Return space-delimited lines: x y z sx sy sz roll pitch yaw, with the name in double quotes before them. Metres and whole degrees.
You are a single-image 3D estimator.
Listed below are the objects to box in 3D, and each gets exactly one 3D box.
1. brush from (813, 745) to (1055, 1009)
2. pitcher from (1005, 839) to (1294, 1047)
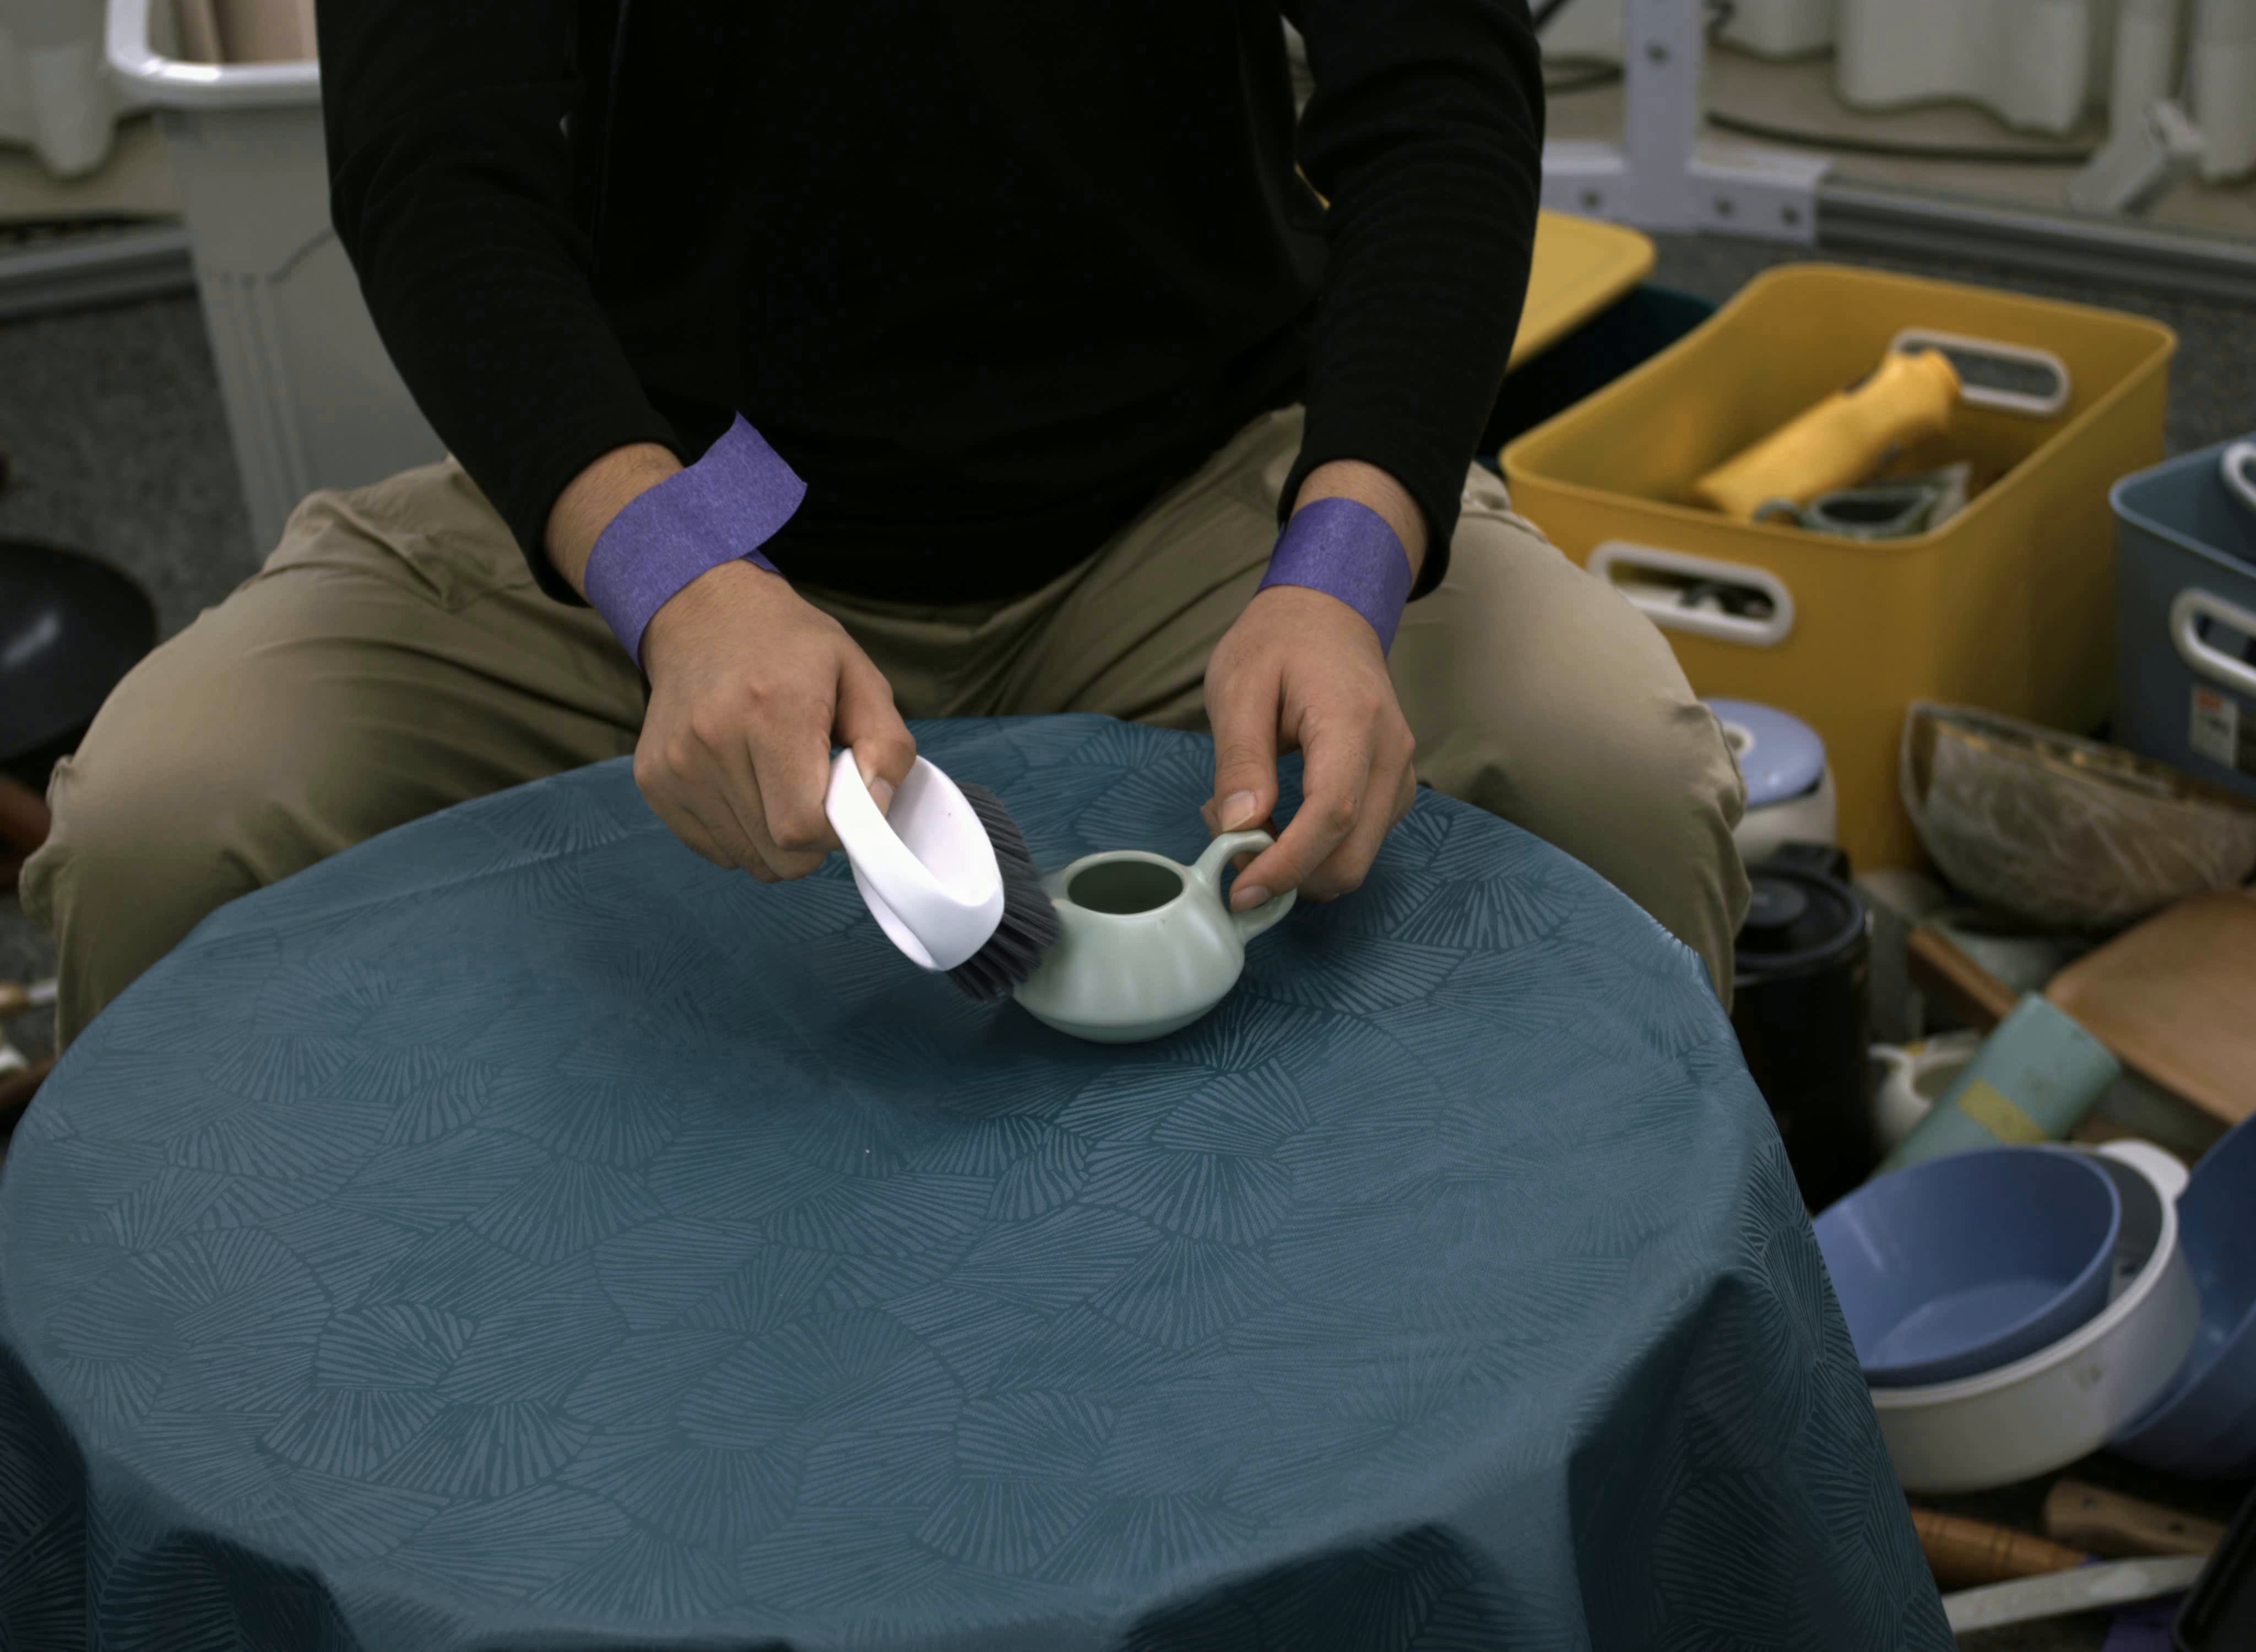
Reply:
"brush" -0.074 0.010 1.929 0.050 0.072 0.100 -43 43 13
"pitcher" 0.007 0.038 1.964 0.108 0.060 0.086 -9 29 -21
